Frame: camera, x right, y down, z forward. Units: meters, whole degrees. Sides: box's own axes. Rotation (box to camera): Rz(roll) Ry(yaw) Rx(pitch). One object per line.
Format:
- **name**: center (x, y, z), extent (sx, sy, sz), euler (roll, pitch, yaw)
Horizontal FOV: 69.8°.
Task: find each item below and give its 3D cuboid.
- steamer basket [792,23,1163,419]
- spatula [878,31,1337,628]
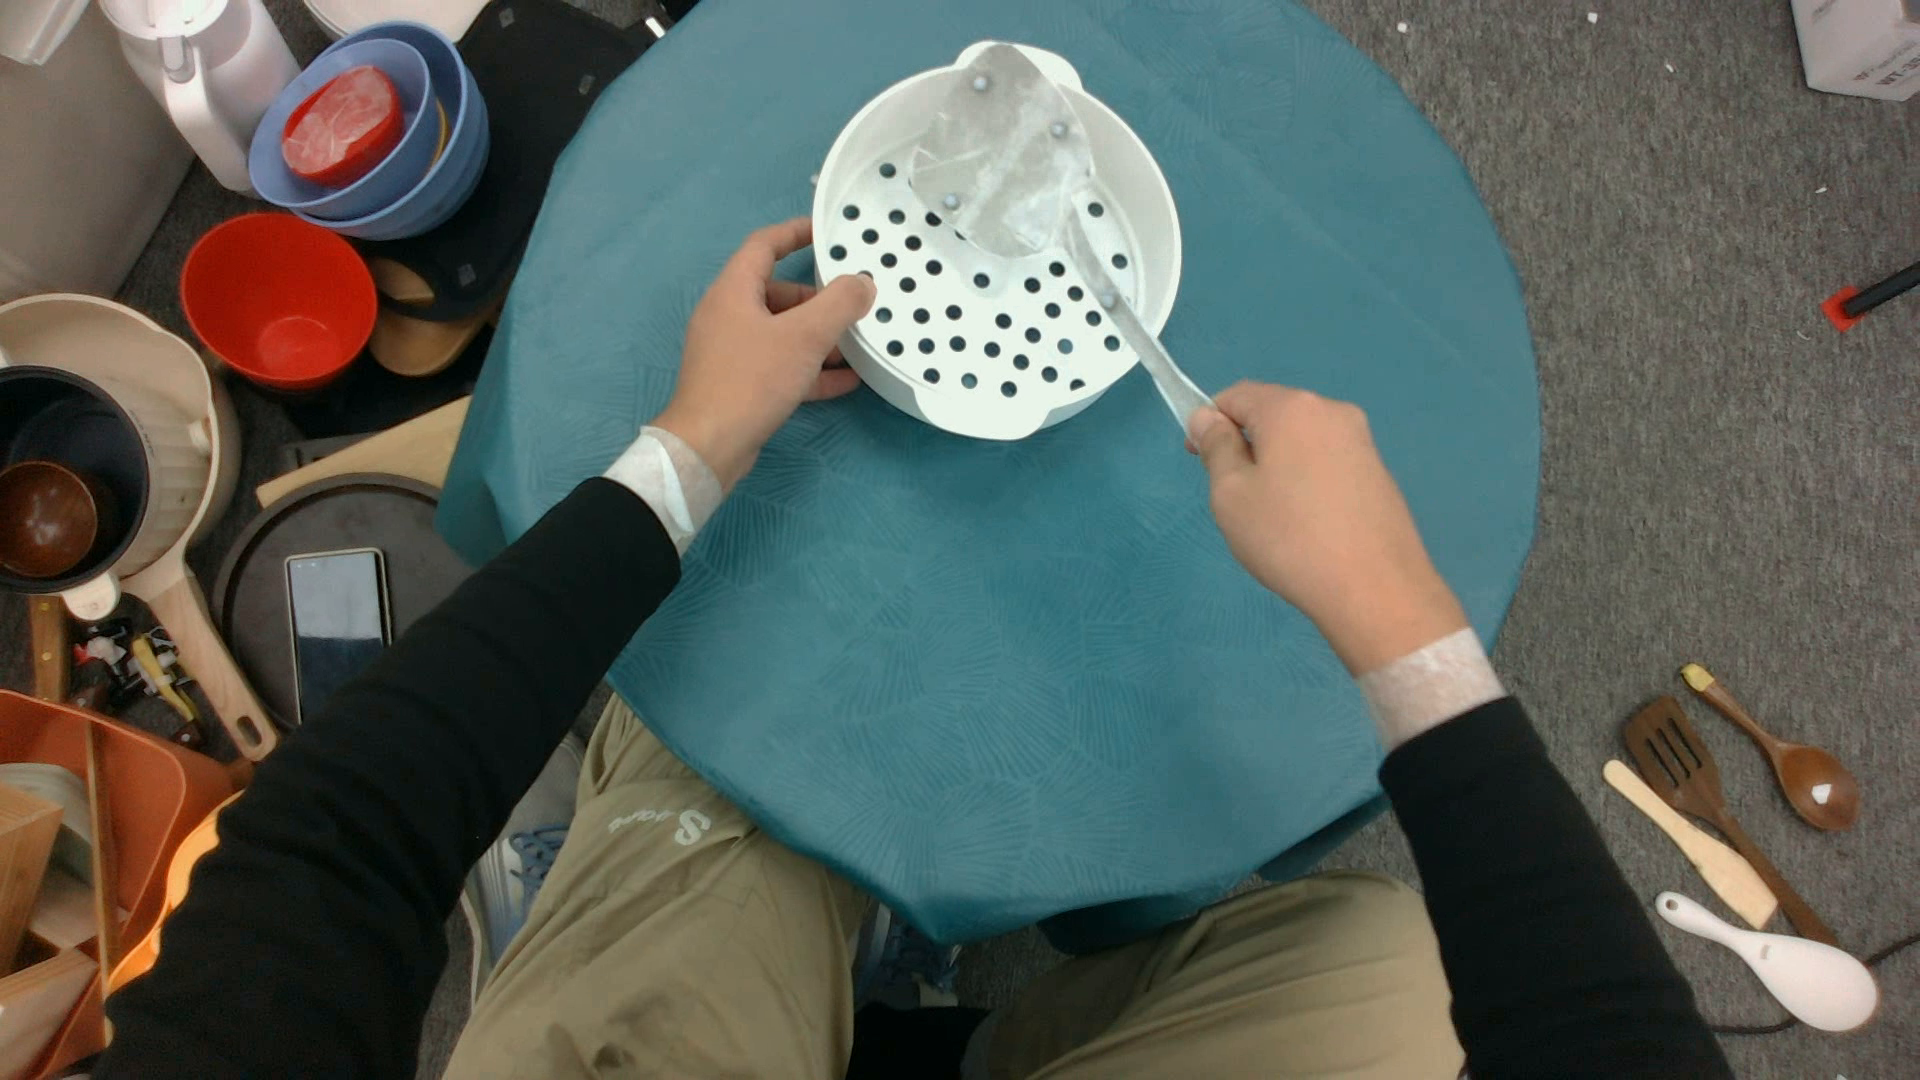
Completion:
- **steamer basket**: center (0.007, -0.169, 0.765), extent (0.202, 0.069, 0.231), euler (9, 76, -8)
- **spatula**: center (0.072, -0.106, 0.674), extent (0.045, 0.098, 0.365), euler (3, 47, -47)
